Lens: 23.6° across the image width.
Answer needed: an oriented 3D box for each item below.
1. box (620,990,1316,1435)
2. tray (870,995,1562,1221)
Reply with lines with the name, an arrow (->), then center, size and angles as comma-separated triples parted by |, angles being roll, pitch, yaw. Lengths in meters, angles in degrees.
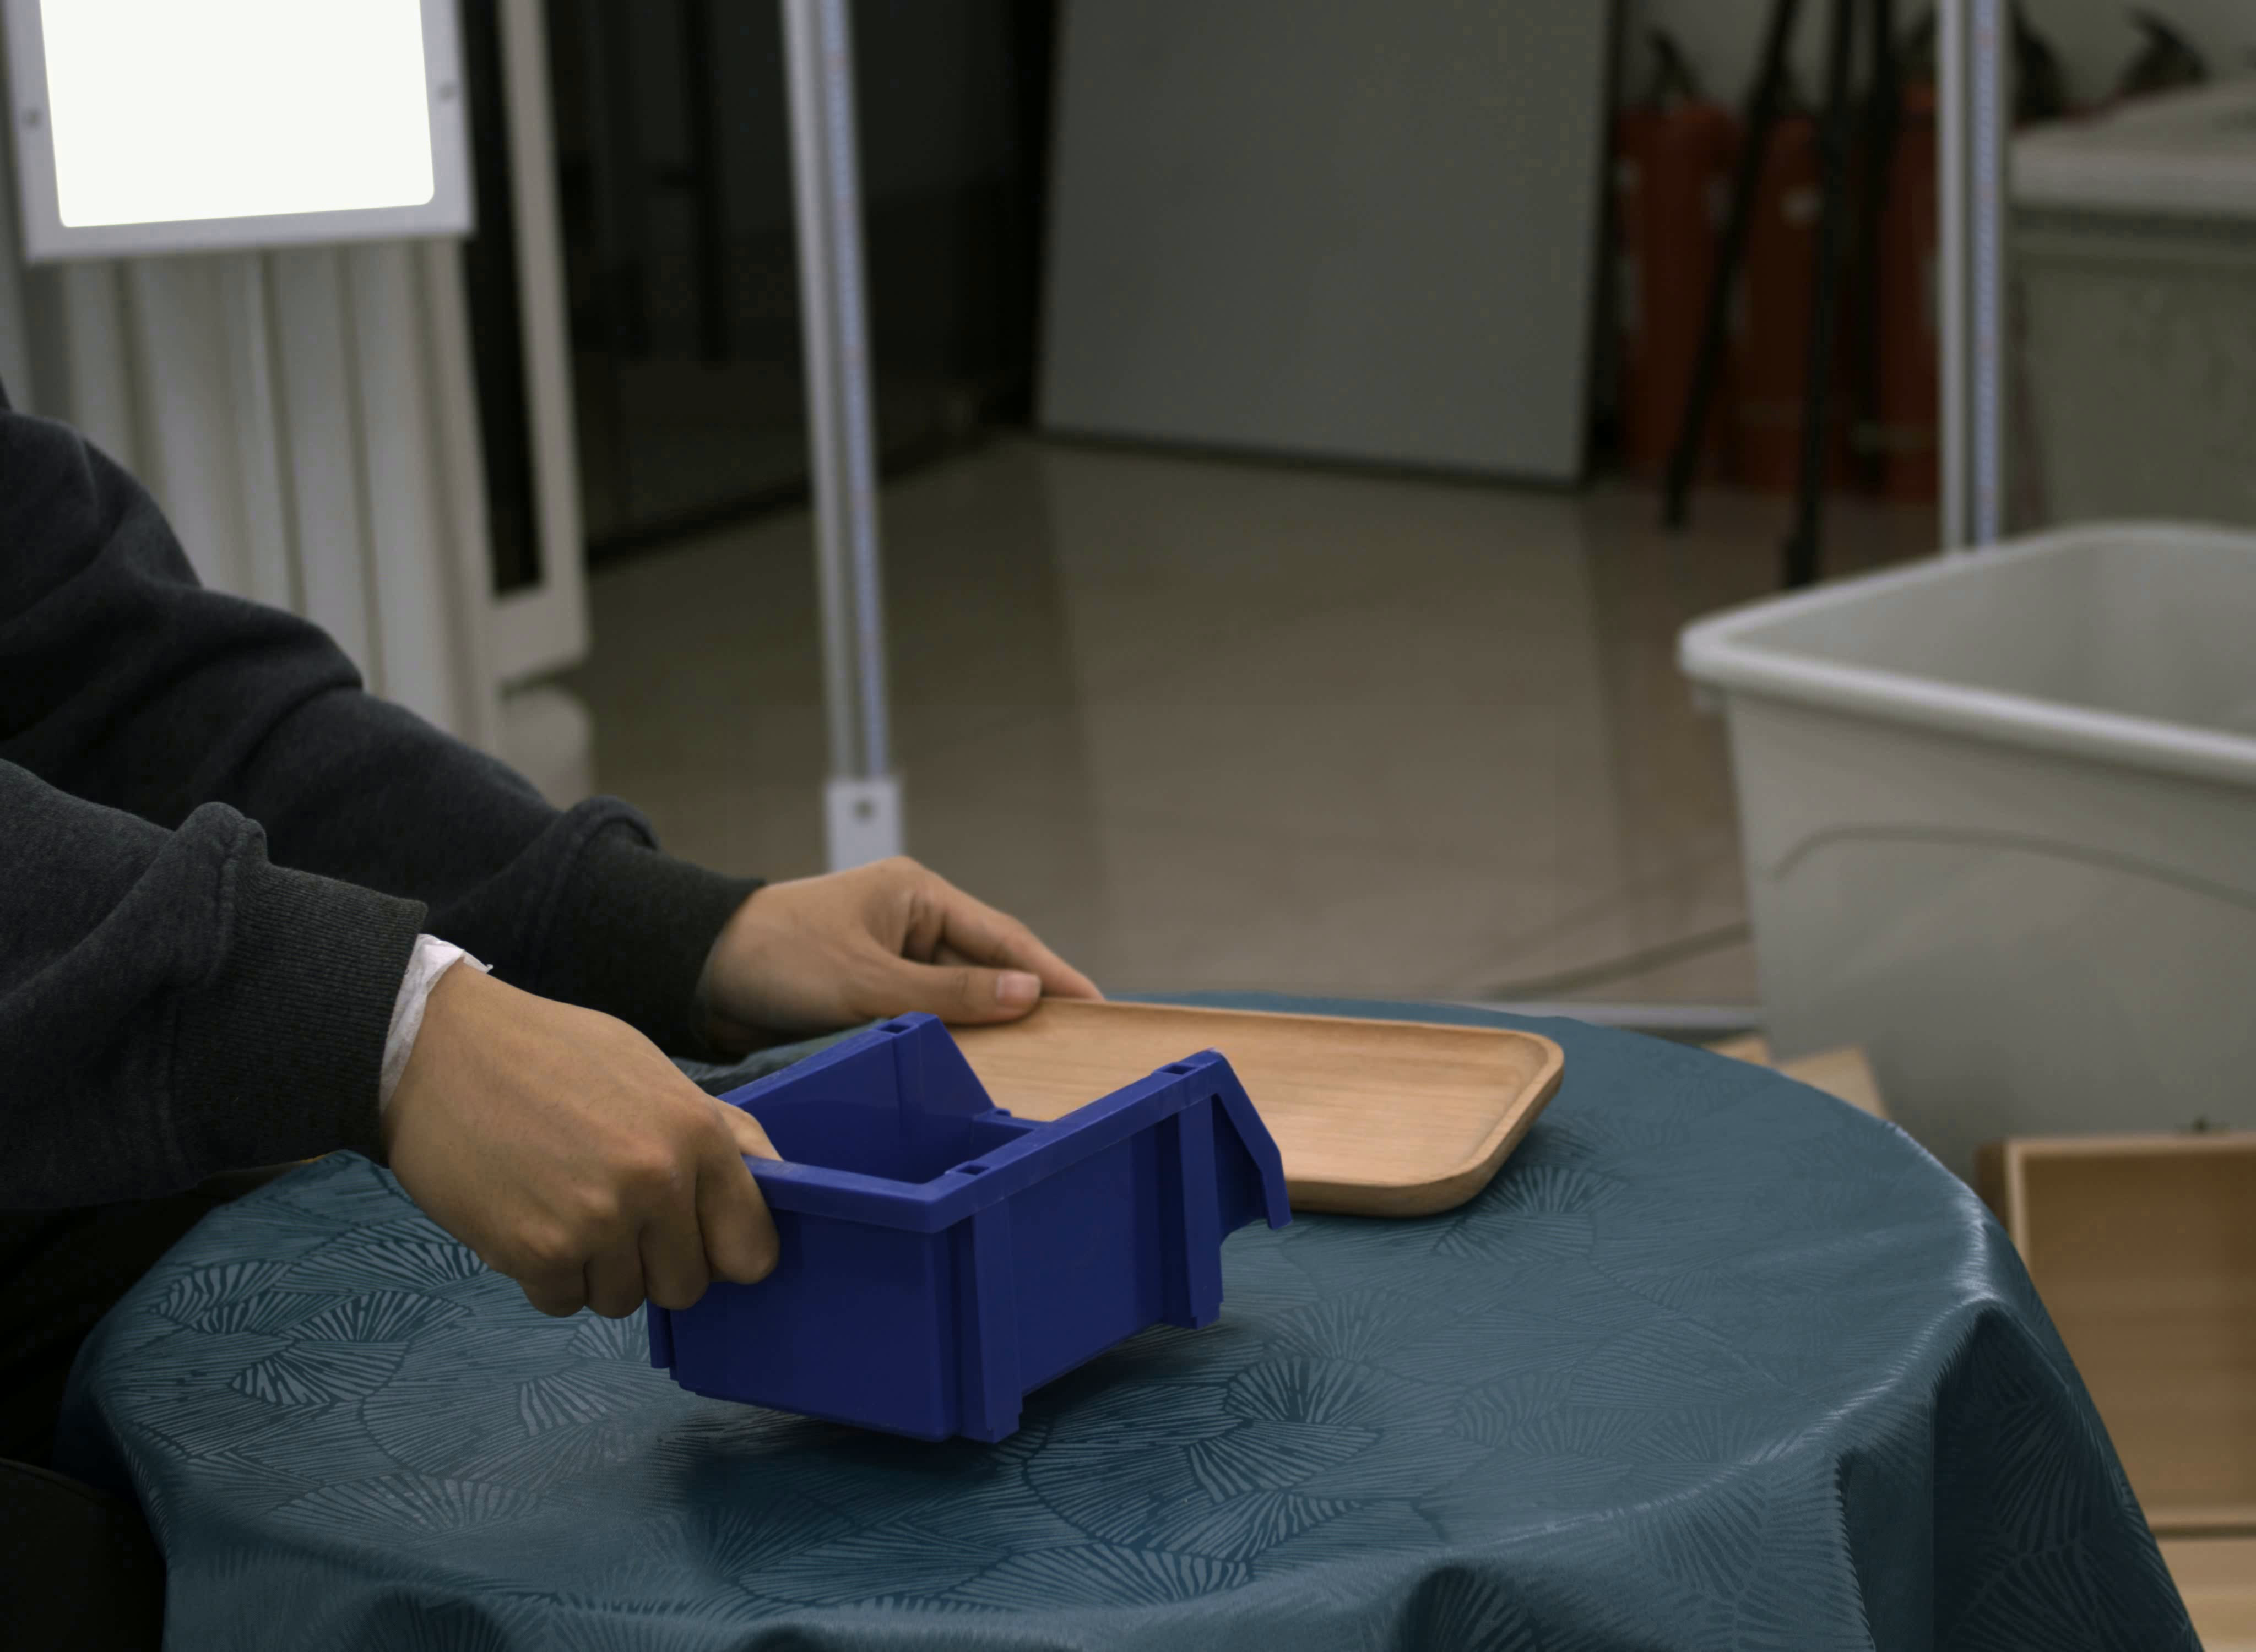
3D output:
box -> -0.046, 0.110, 1.600 | 0.125, 0.083, 0.176 | 6, 20, 38
tray -> 0.017, 0.094, 1.809 | 0.251, 0.023, 0.129 | 2, 20, 25
